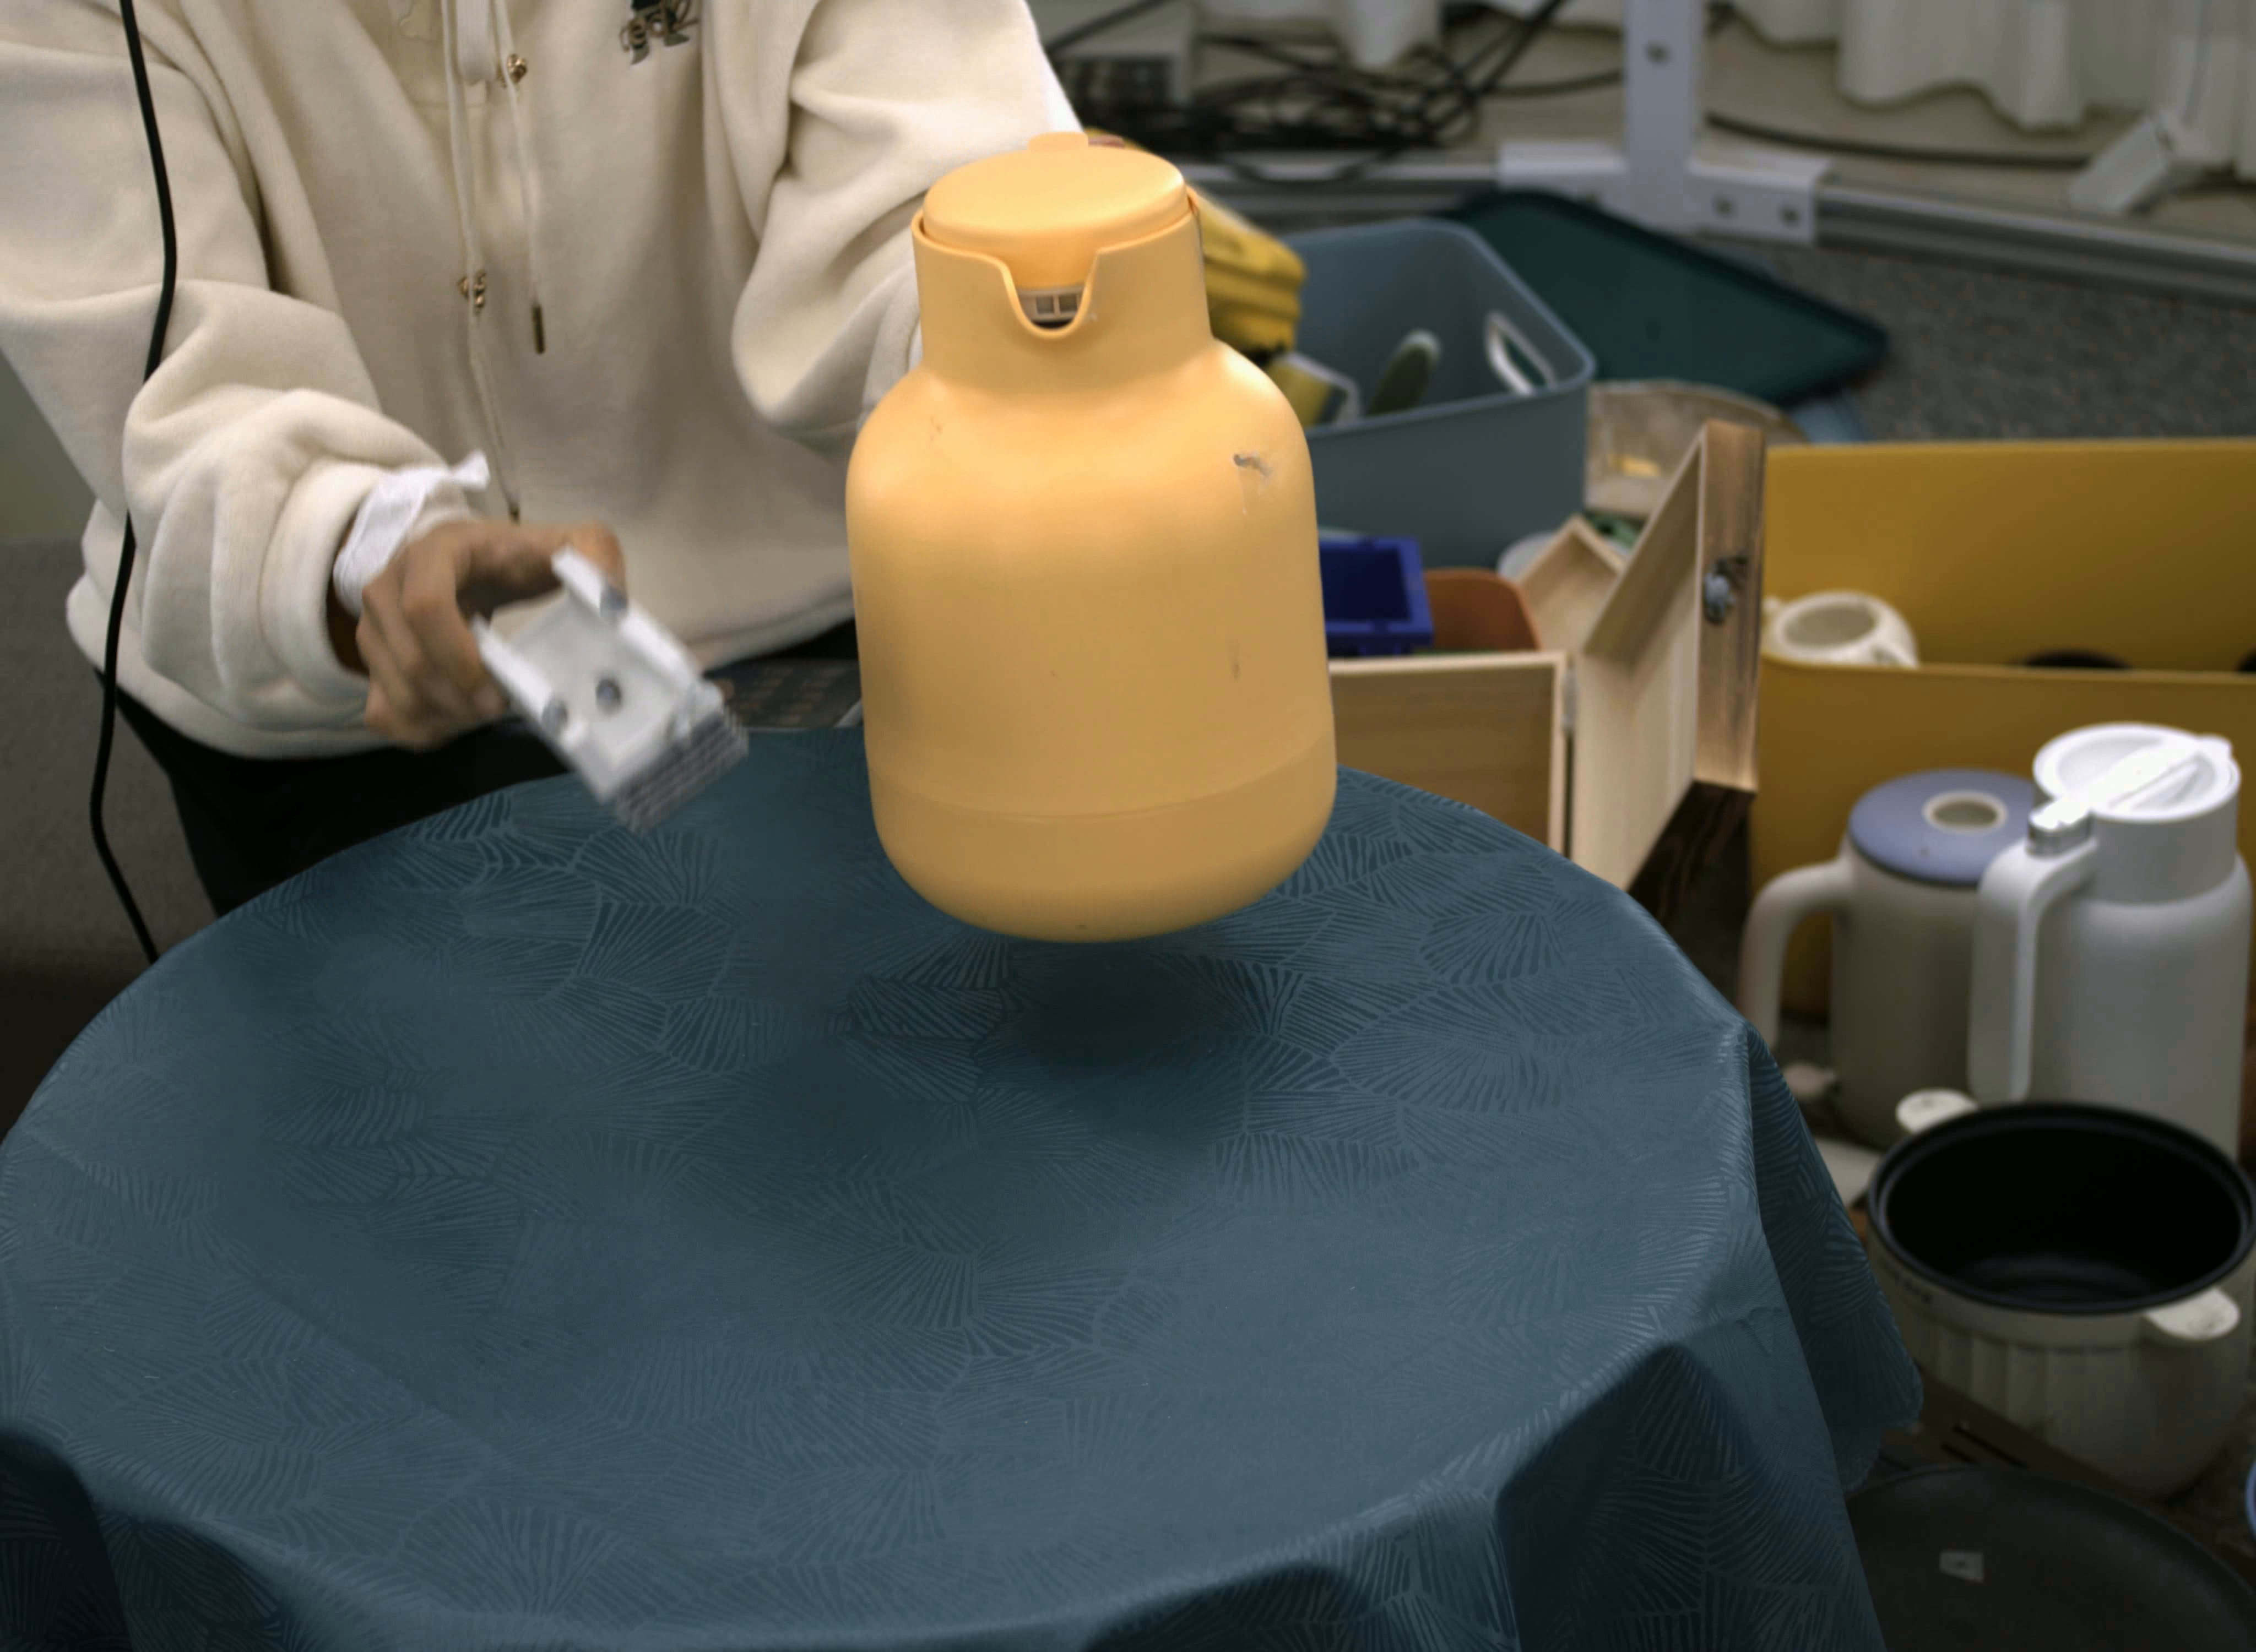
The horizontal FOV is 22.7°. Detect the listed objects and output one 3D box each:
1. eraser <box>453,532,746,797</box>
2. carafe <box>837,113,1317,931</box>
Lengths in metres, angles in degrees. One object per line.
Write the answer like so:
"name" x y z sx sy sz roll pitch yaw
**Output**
"eraser" -0.173 -0.054 1.849 0.050 0.046 0.134 -43 27 -8
"carafe" -0.016 -0.113 1.939 0.162 0.258 0.205 0 24 3
